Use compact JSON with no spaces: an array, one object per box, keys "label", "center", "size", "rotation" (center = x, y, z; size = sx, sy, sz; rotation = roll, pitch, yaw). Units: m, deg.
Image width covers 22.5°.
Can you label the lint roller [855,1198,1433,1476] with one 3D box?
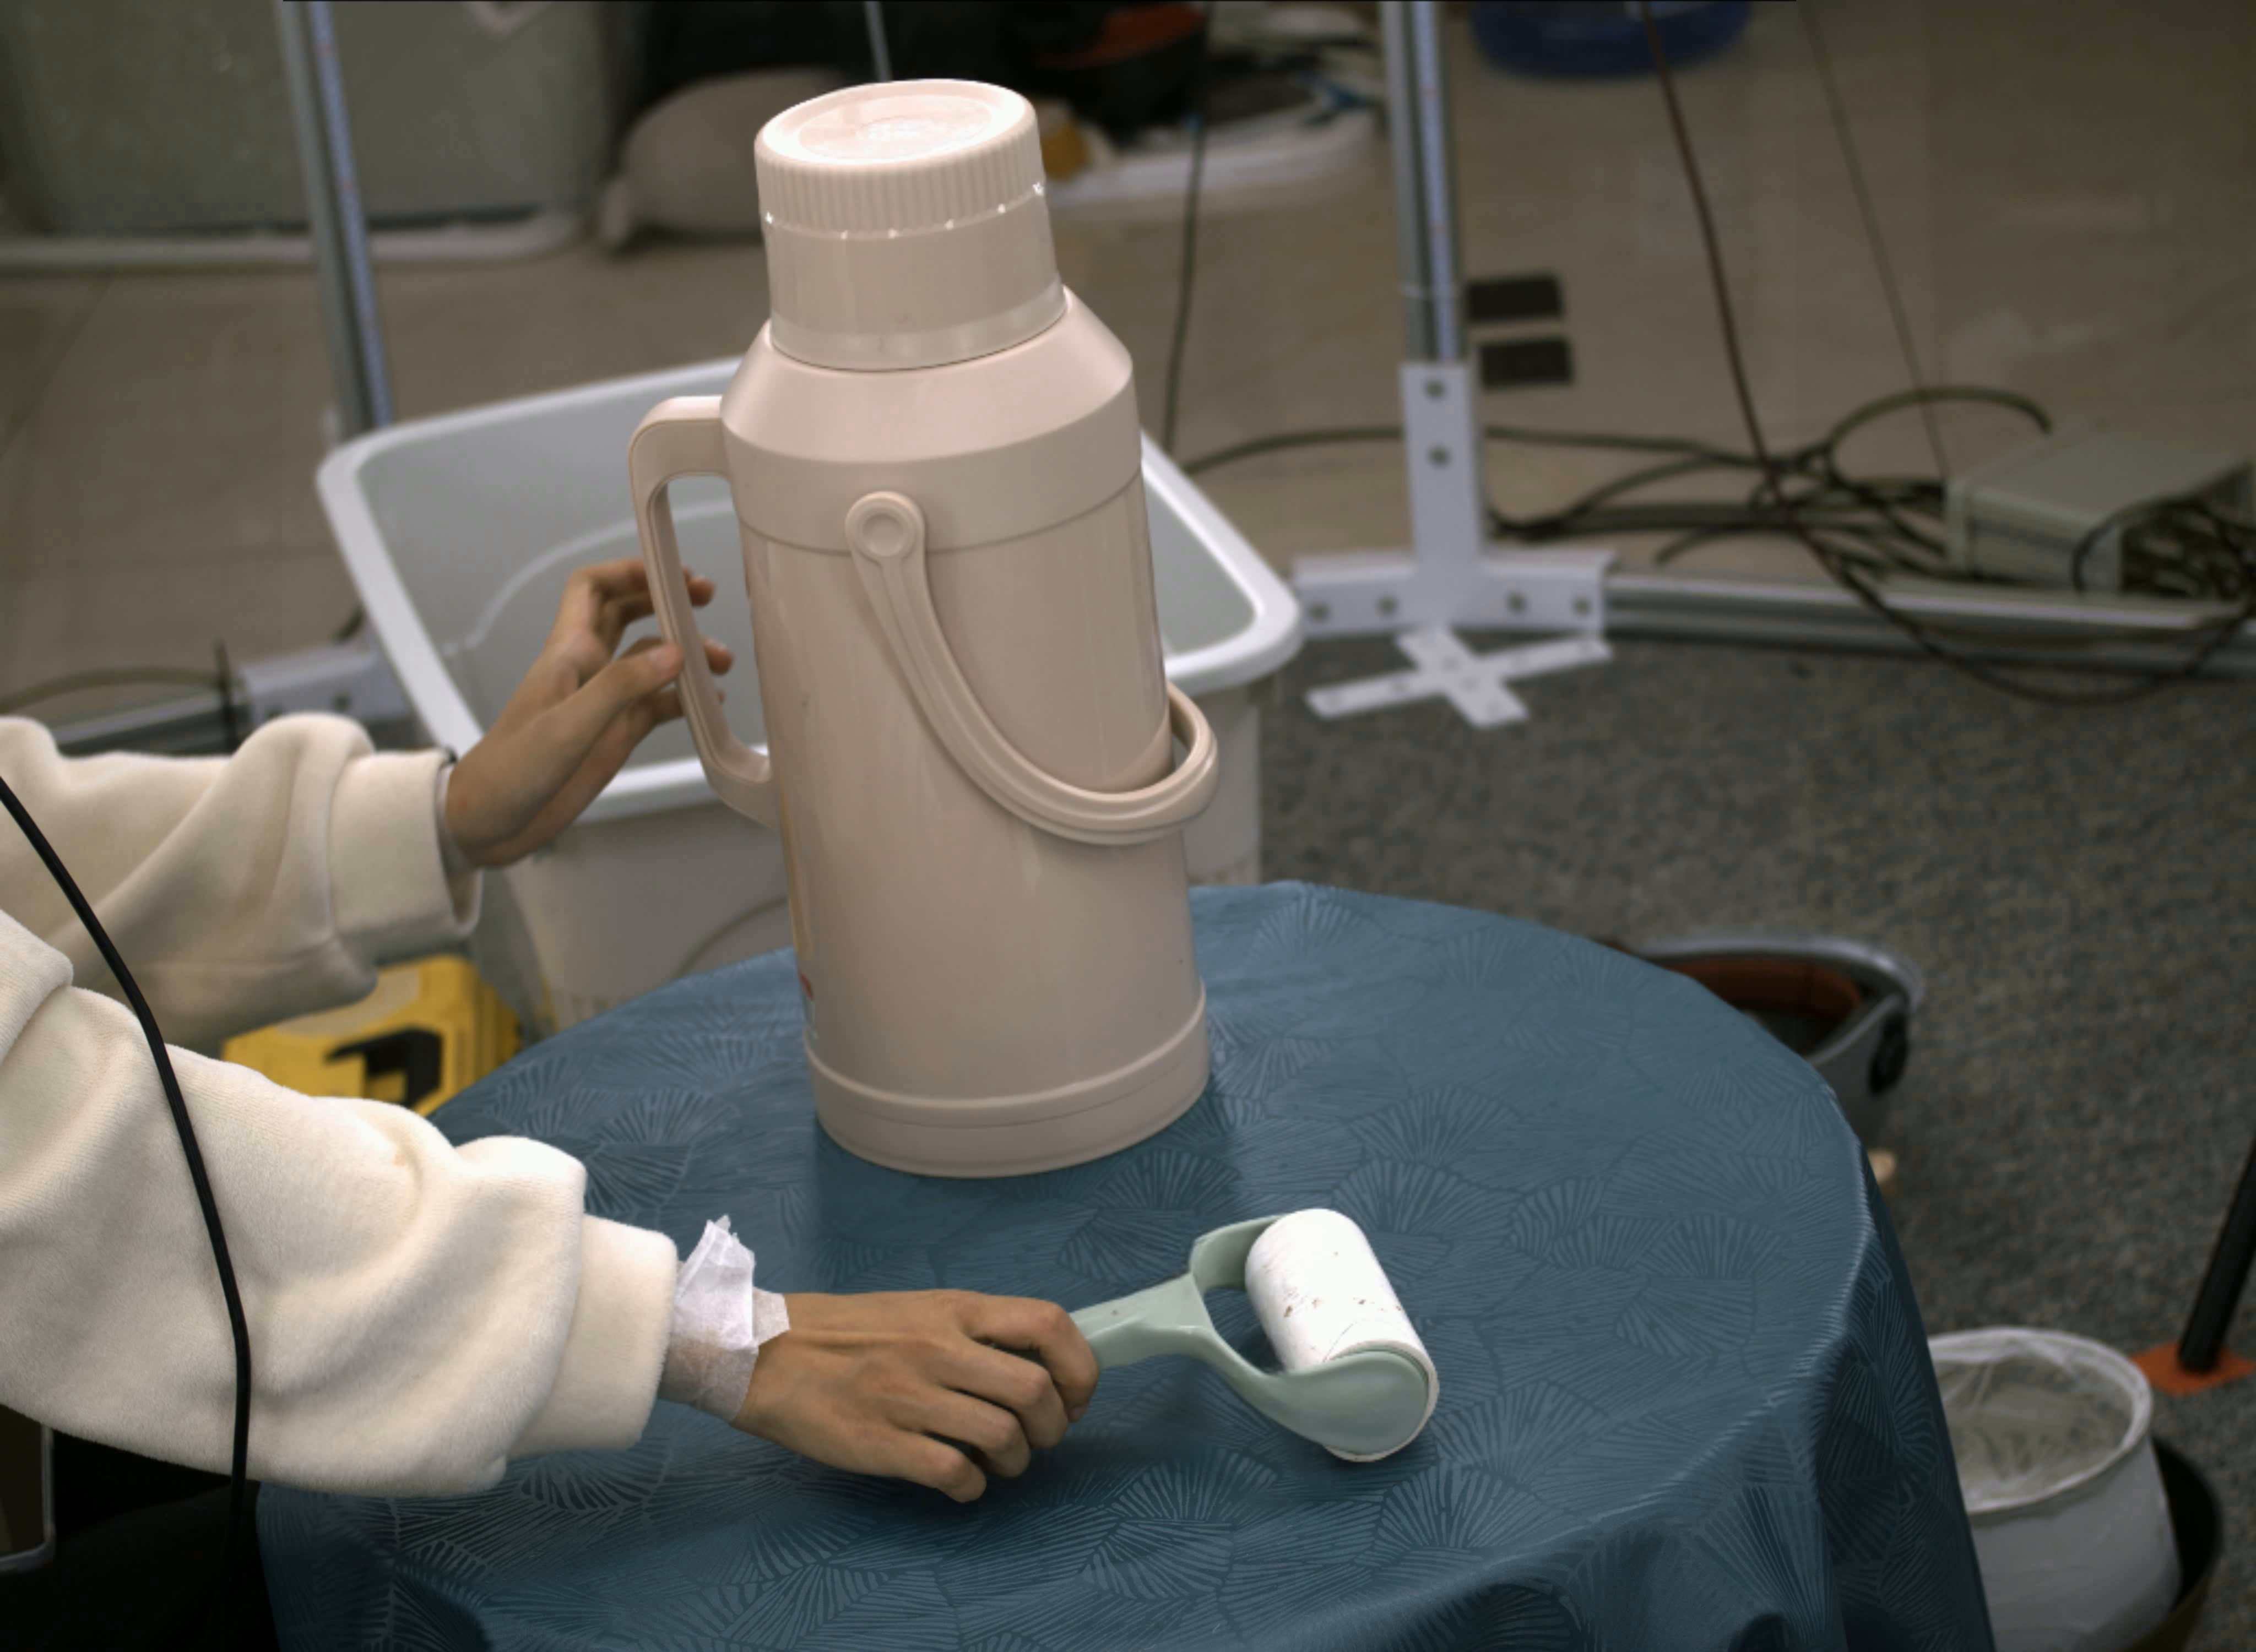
[{"label":"lint roller","center":[0.000,0.185,1.986],"size":[0.197,0.049,0.115],"rotation":[-9,26,-8]}]

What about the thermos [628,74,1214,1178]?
[{"label":"thermos","center":[-0.078,-0.077,2.154],"size":[0.206,0.413,0.173],"rotation":[-1,27,12]}]
